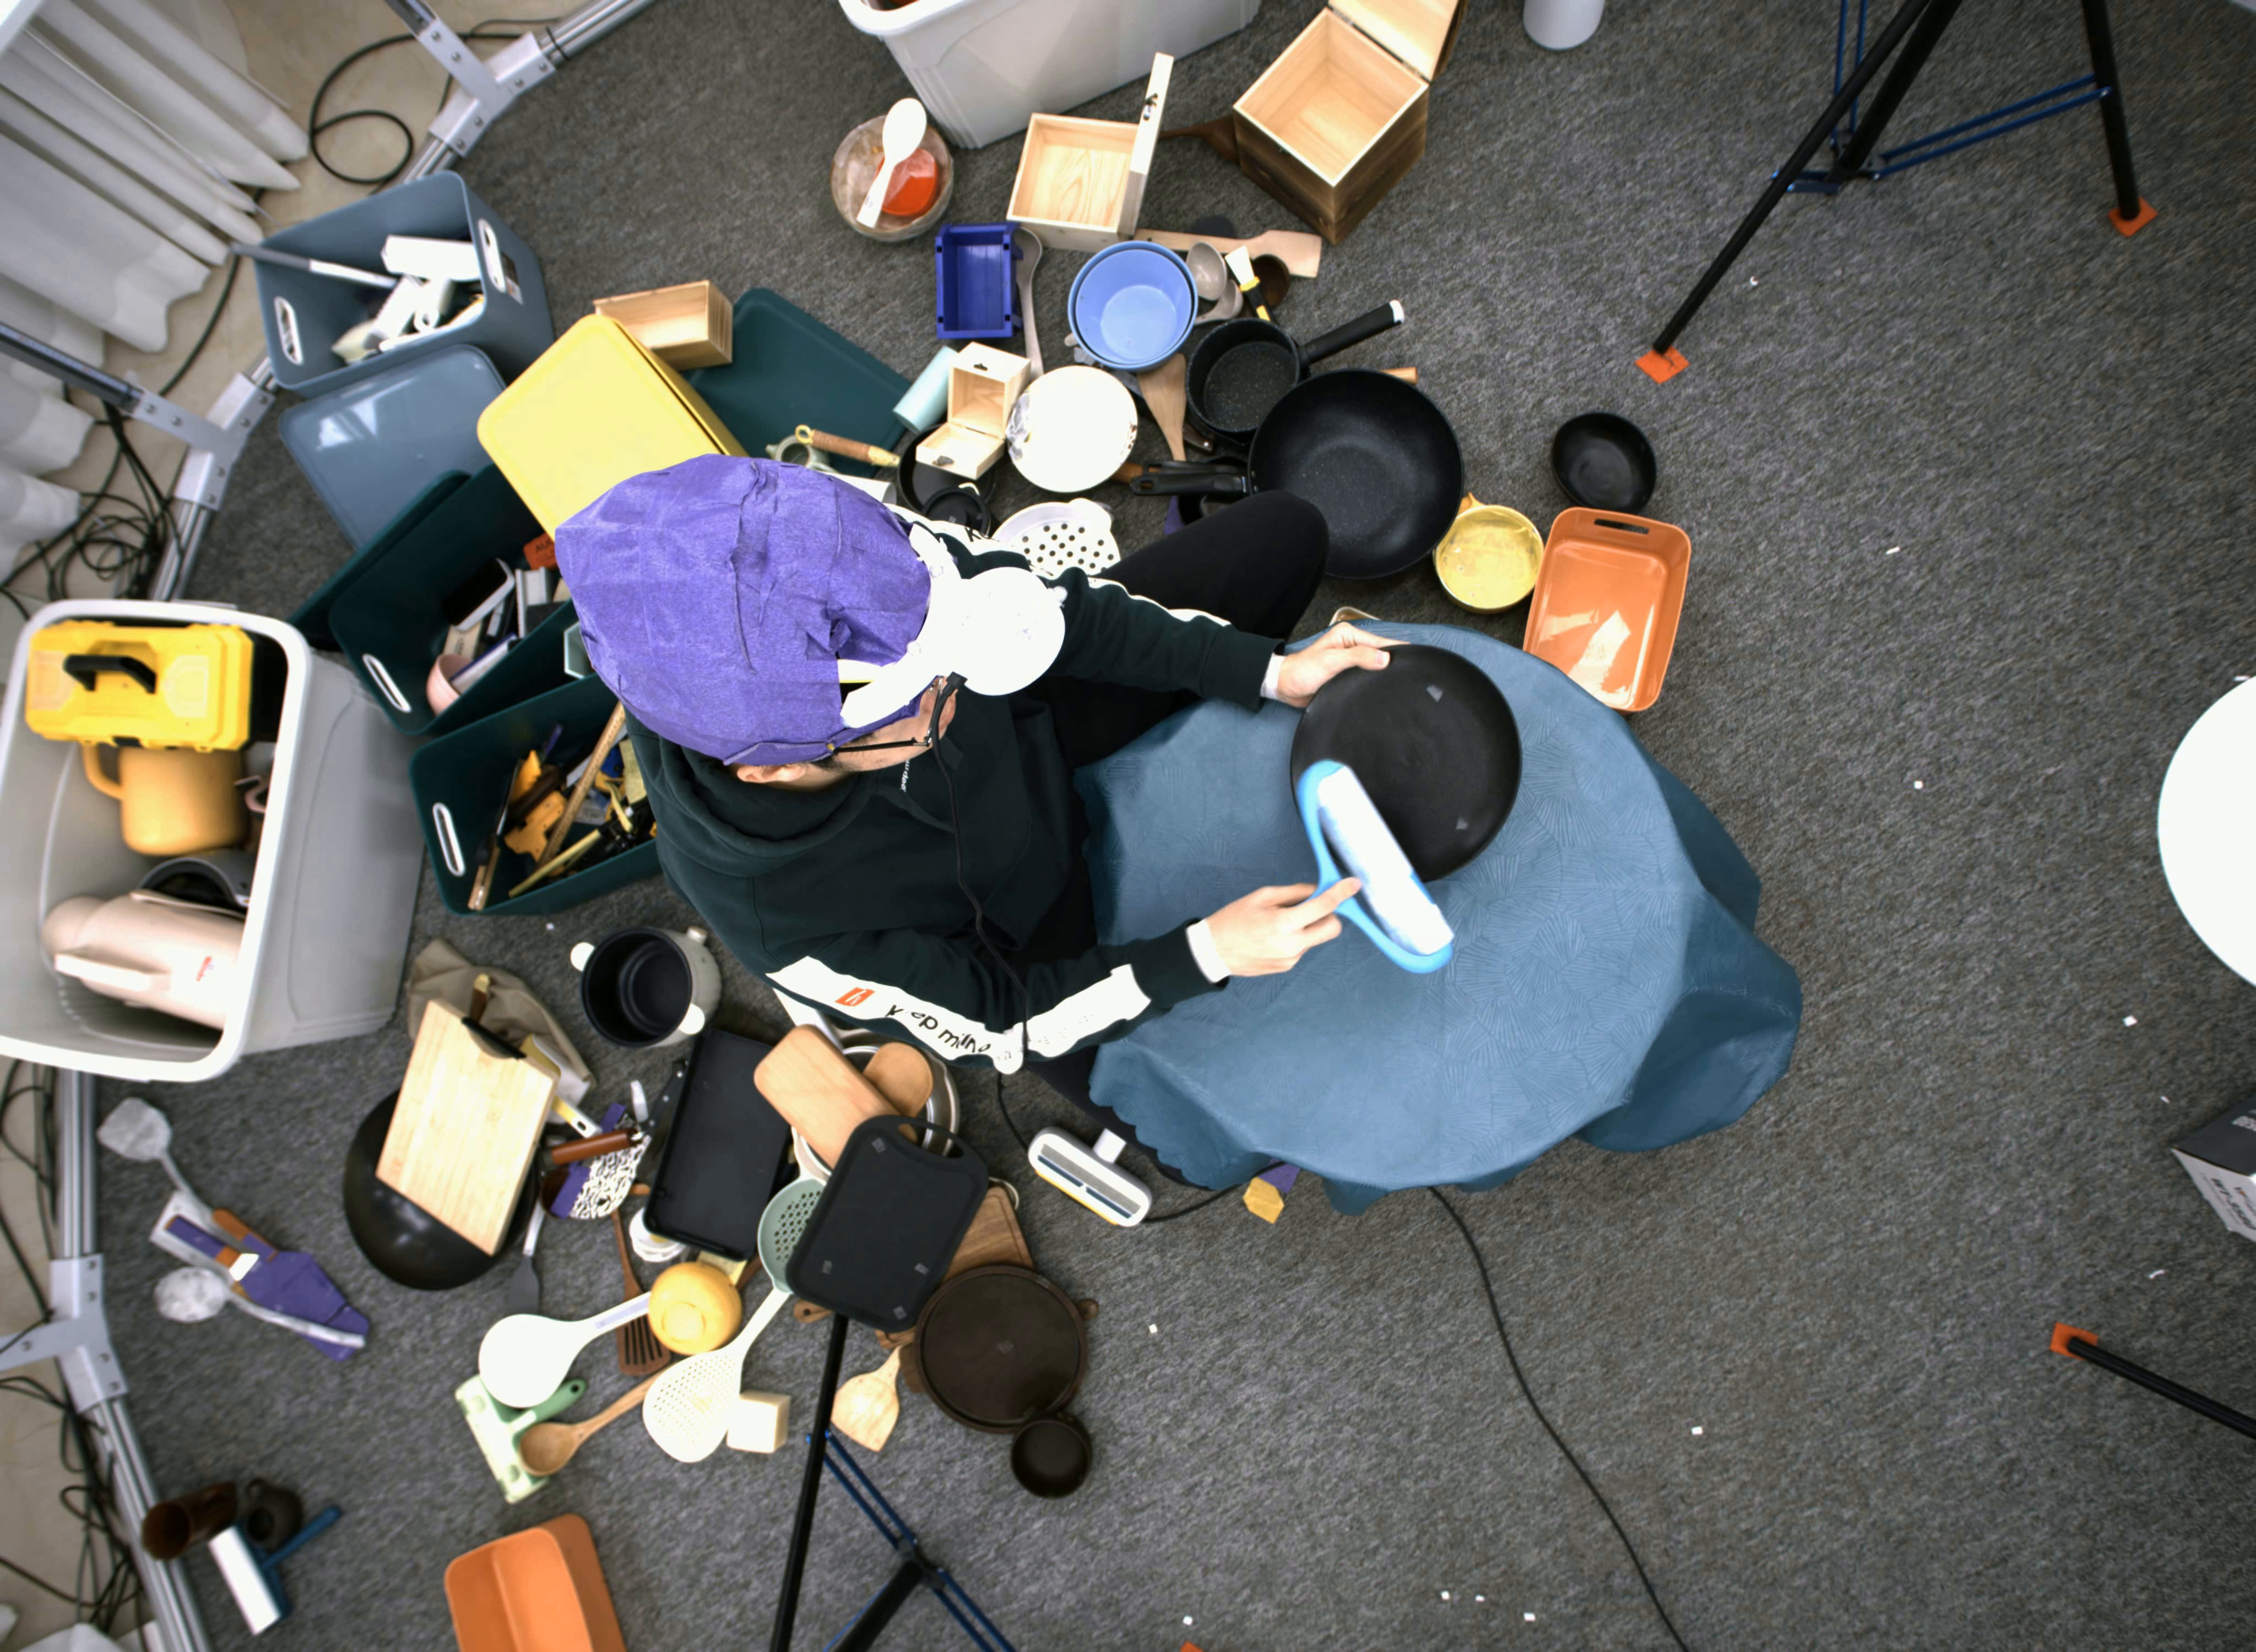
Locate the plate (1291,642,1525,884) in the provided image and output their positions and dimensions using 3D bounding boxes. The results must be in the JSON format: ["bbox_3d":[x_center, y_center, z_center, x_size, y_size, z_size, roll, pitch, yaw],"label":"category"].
[{"bbox_3d":[0.279,-0.064,1.378,0.246,0.023,0.244,-2,88,31],"label":"plate"}]

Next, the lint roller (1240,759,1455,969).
[{"bbox_3d":[0.189,0.068,1.314,0.180,0.068,0.229,-36,92,-3],"label":"lint roller"}]
